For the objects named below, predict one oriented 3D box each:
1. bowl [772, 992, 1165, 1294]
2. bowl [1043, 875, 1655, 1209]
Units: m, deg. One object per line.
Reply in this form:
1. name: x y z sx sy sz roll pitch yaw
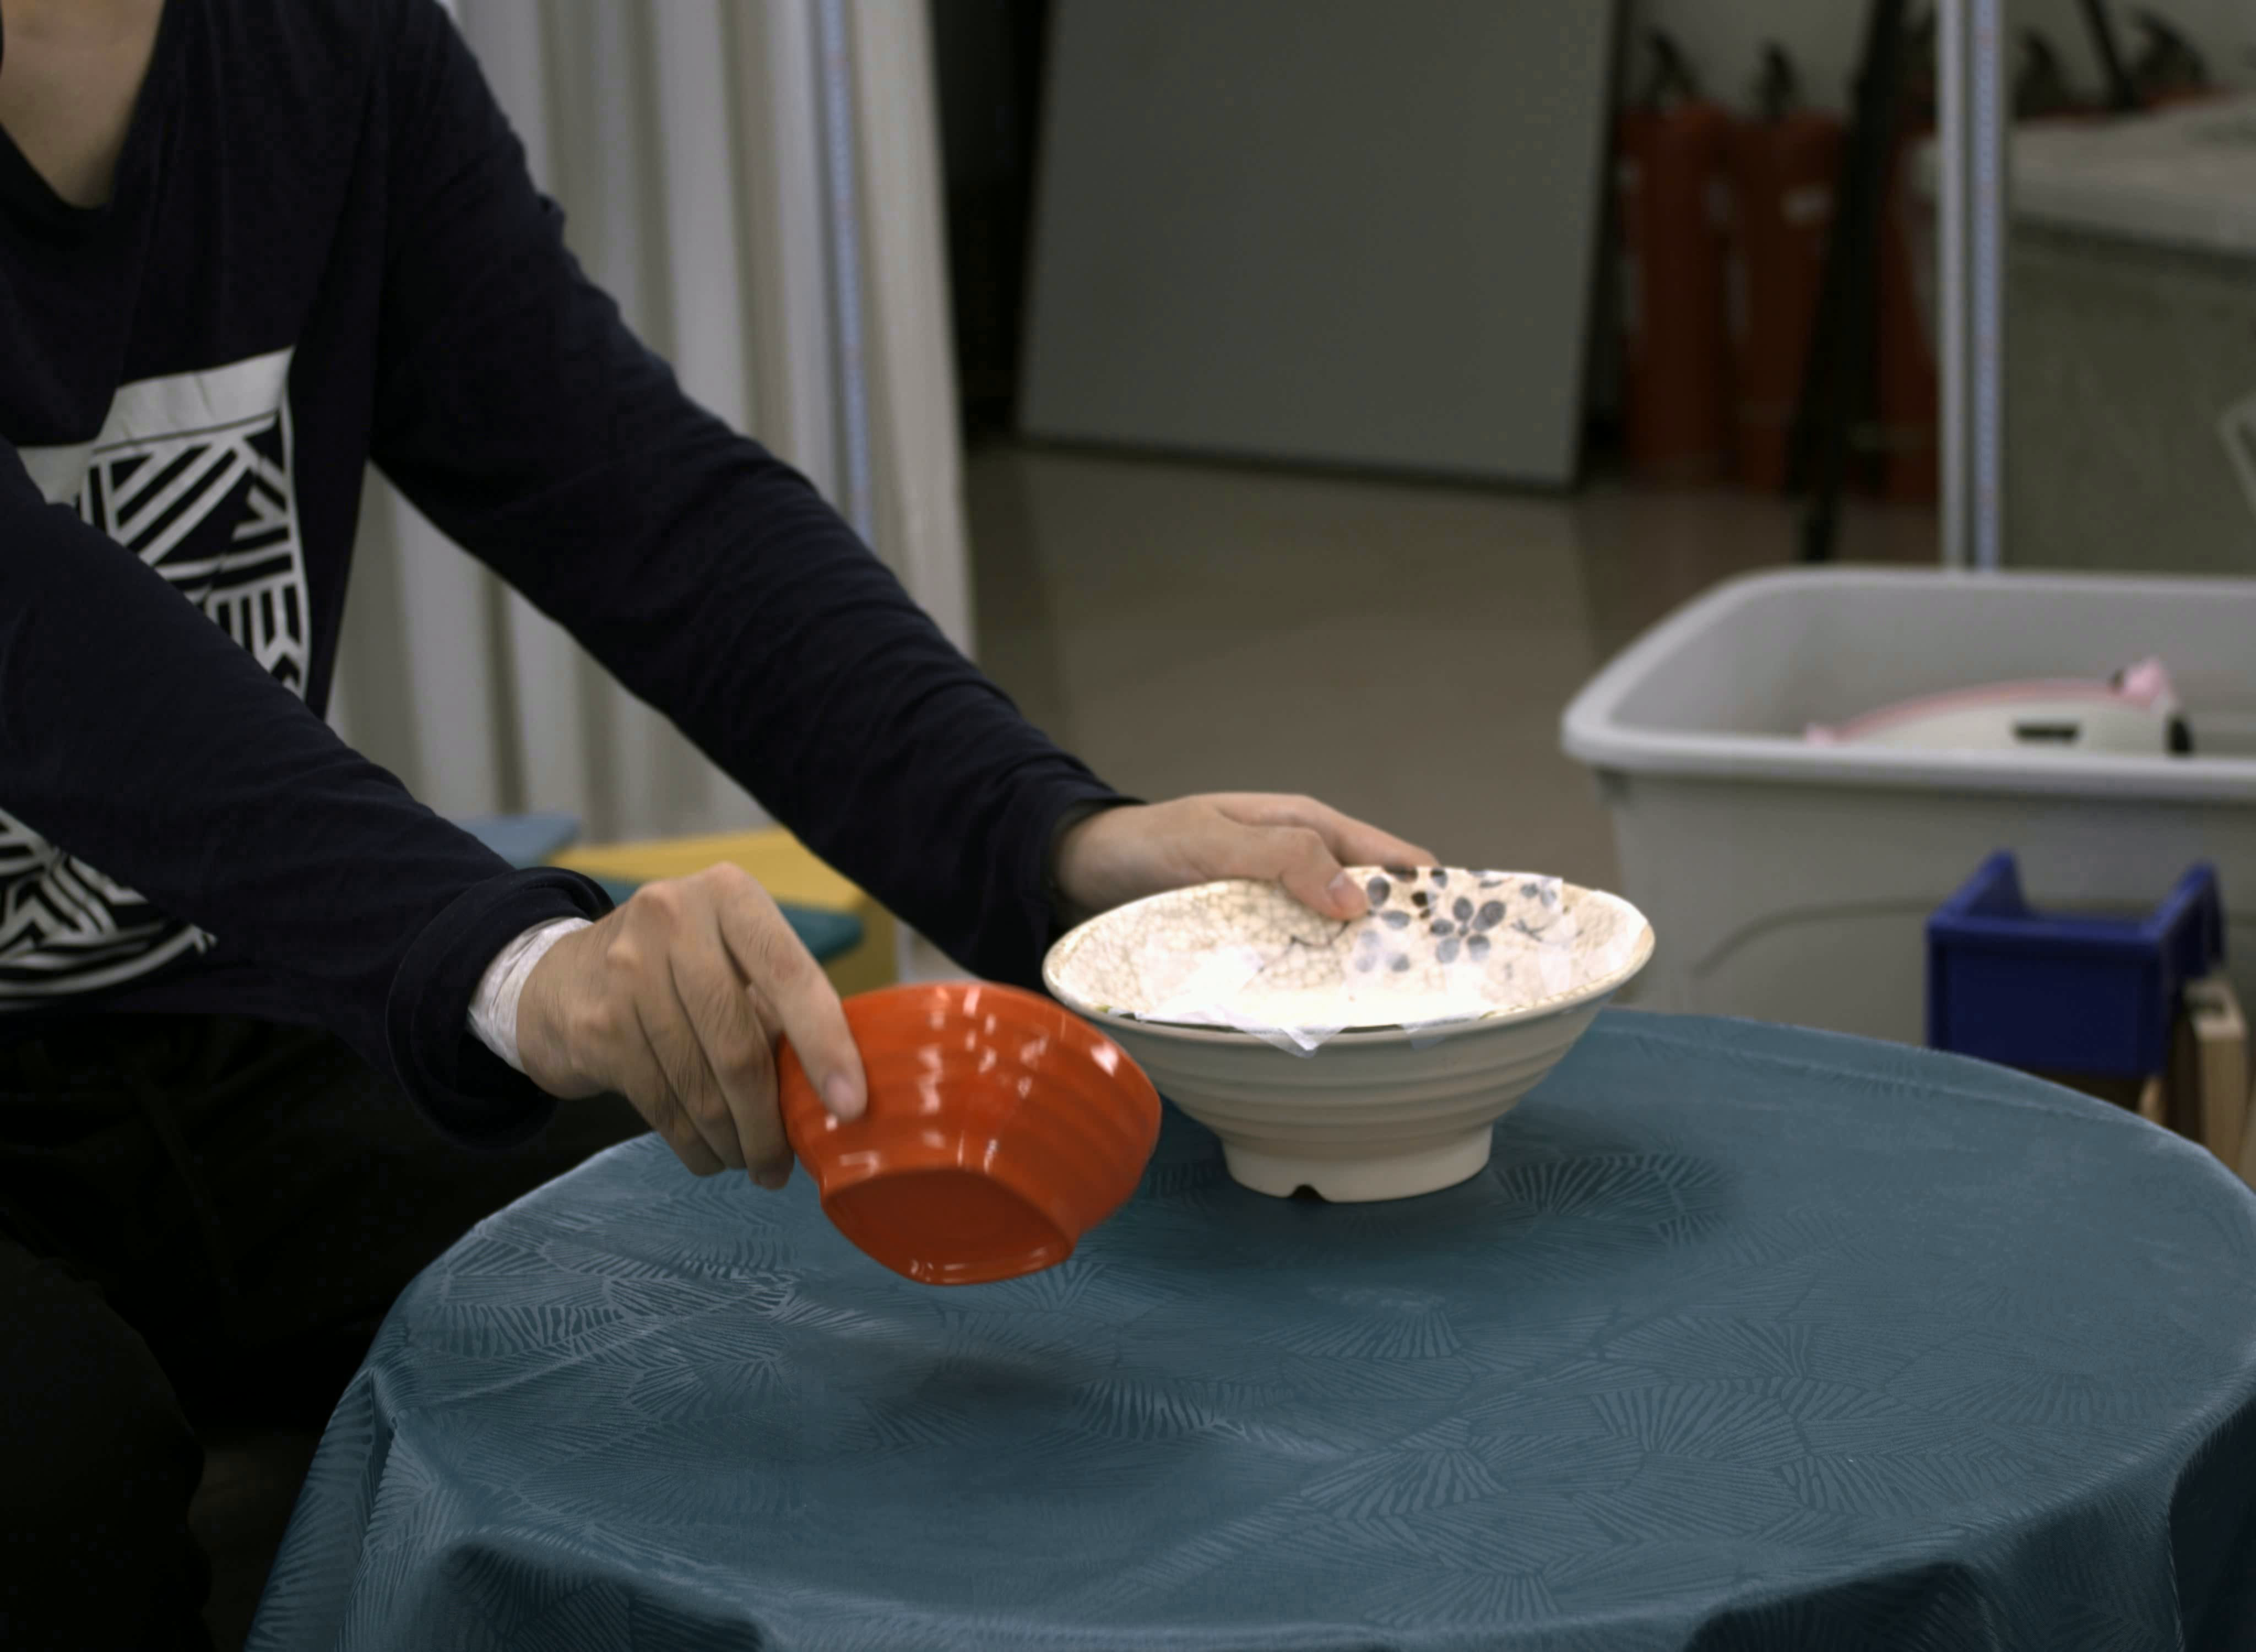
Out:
1. bowl: -0.049 0.099 1.583 0.117 0.052 0.119 7 -30 3
2. bowl: 0.074 0.077 1.776 0.201 0.079 0.204 -4 13 0
